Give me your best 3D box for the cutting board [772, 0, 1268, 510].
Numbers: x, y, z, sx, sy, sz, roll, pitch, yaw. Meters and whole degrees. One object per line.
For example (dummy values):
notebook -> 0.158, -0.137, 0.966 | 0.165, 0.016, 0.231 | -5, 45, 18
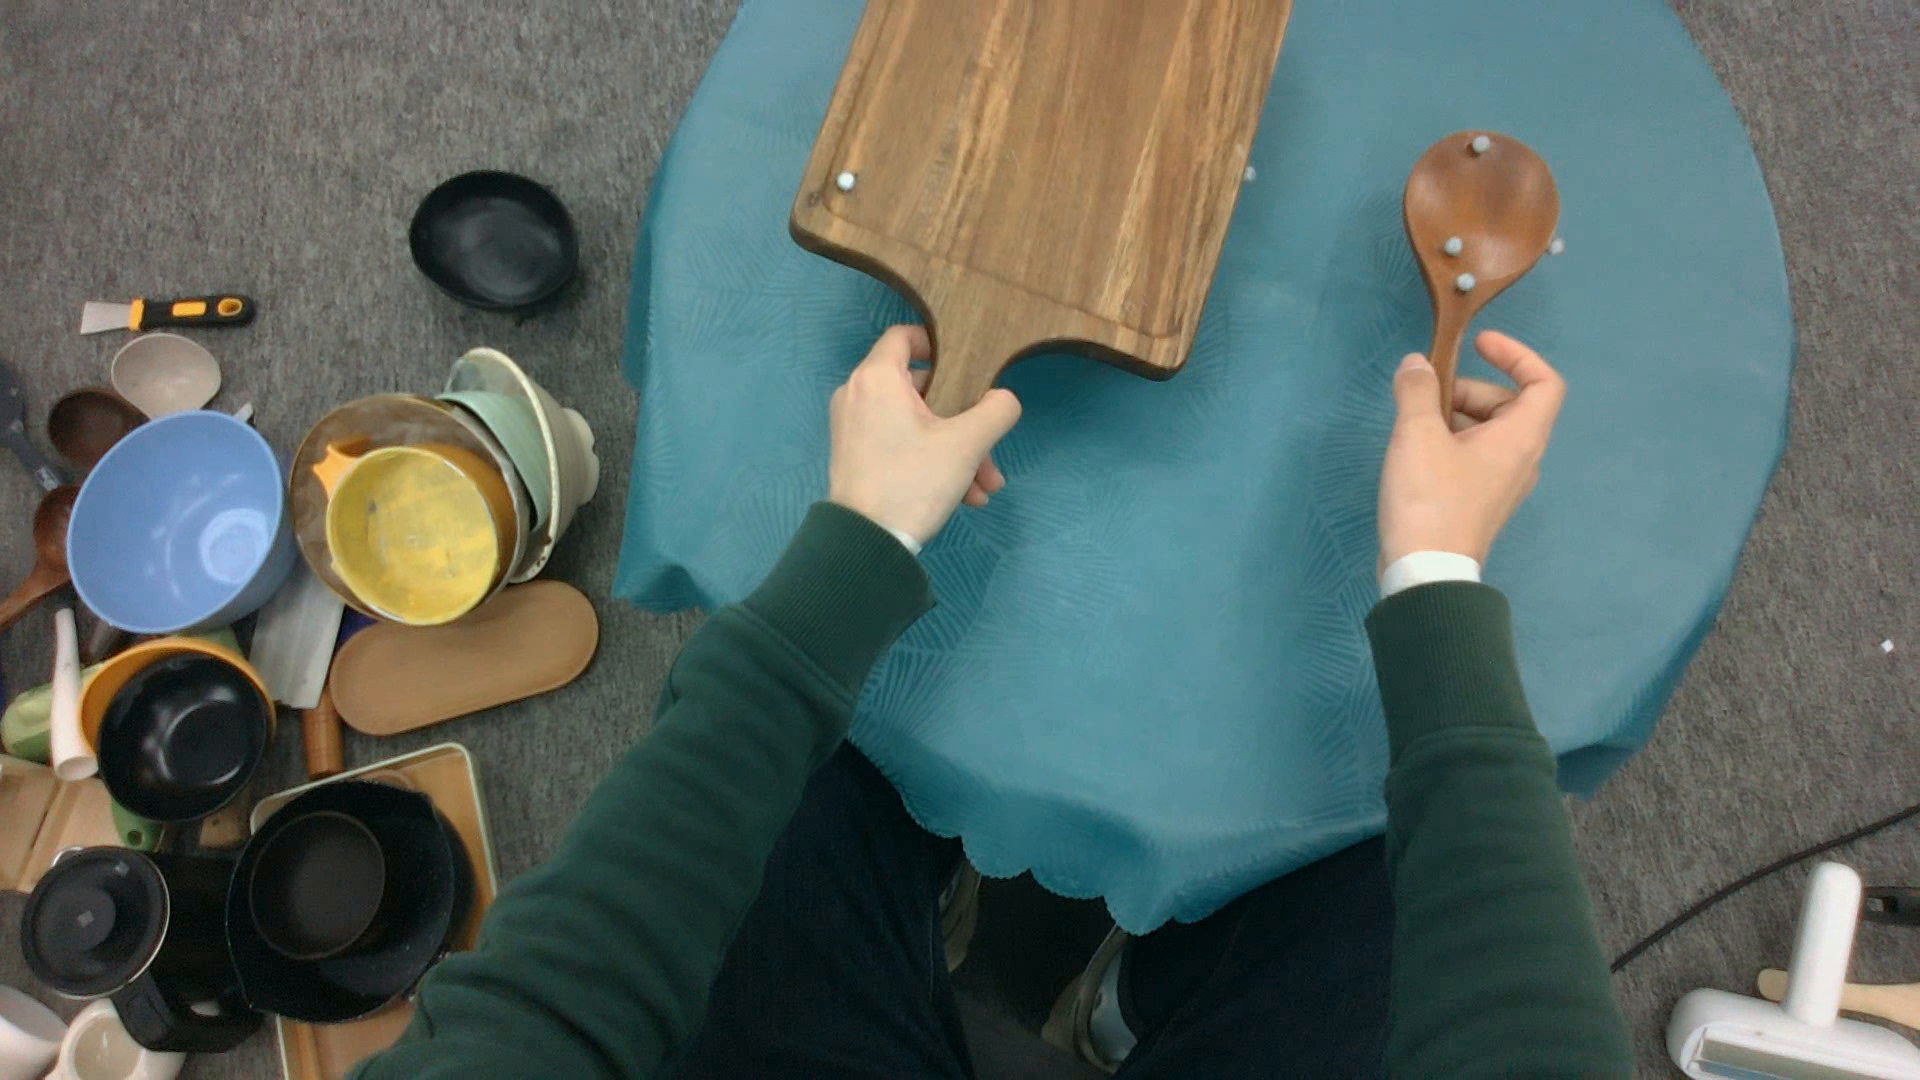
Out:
cutting board -> 0.025, -0.180, 0.658 | 0.201, 0.023, 0.353 | 19, 74, -8

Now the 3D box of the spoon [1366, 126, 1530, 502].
spoon -> 0.223, -0.111, 0.651 | 0.075, 0.017, 0.217 | 18, 65, 3
